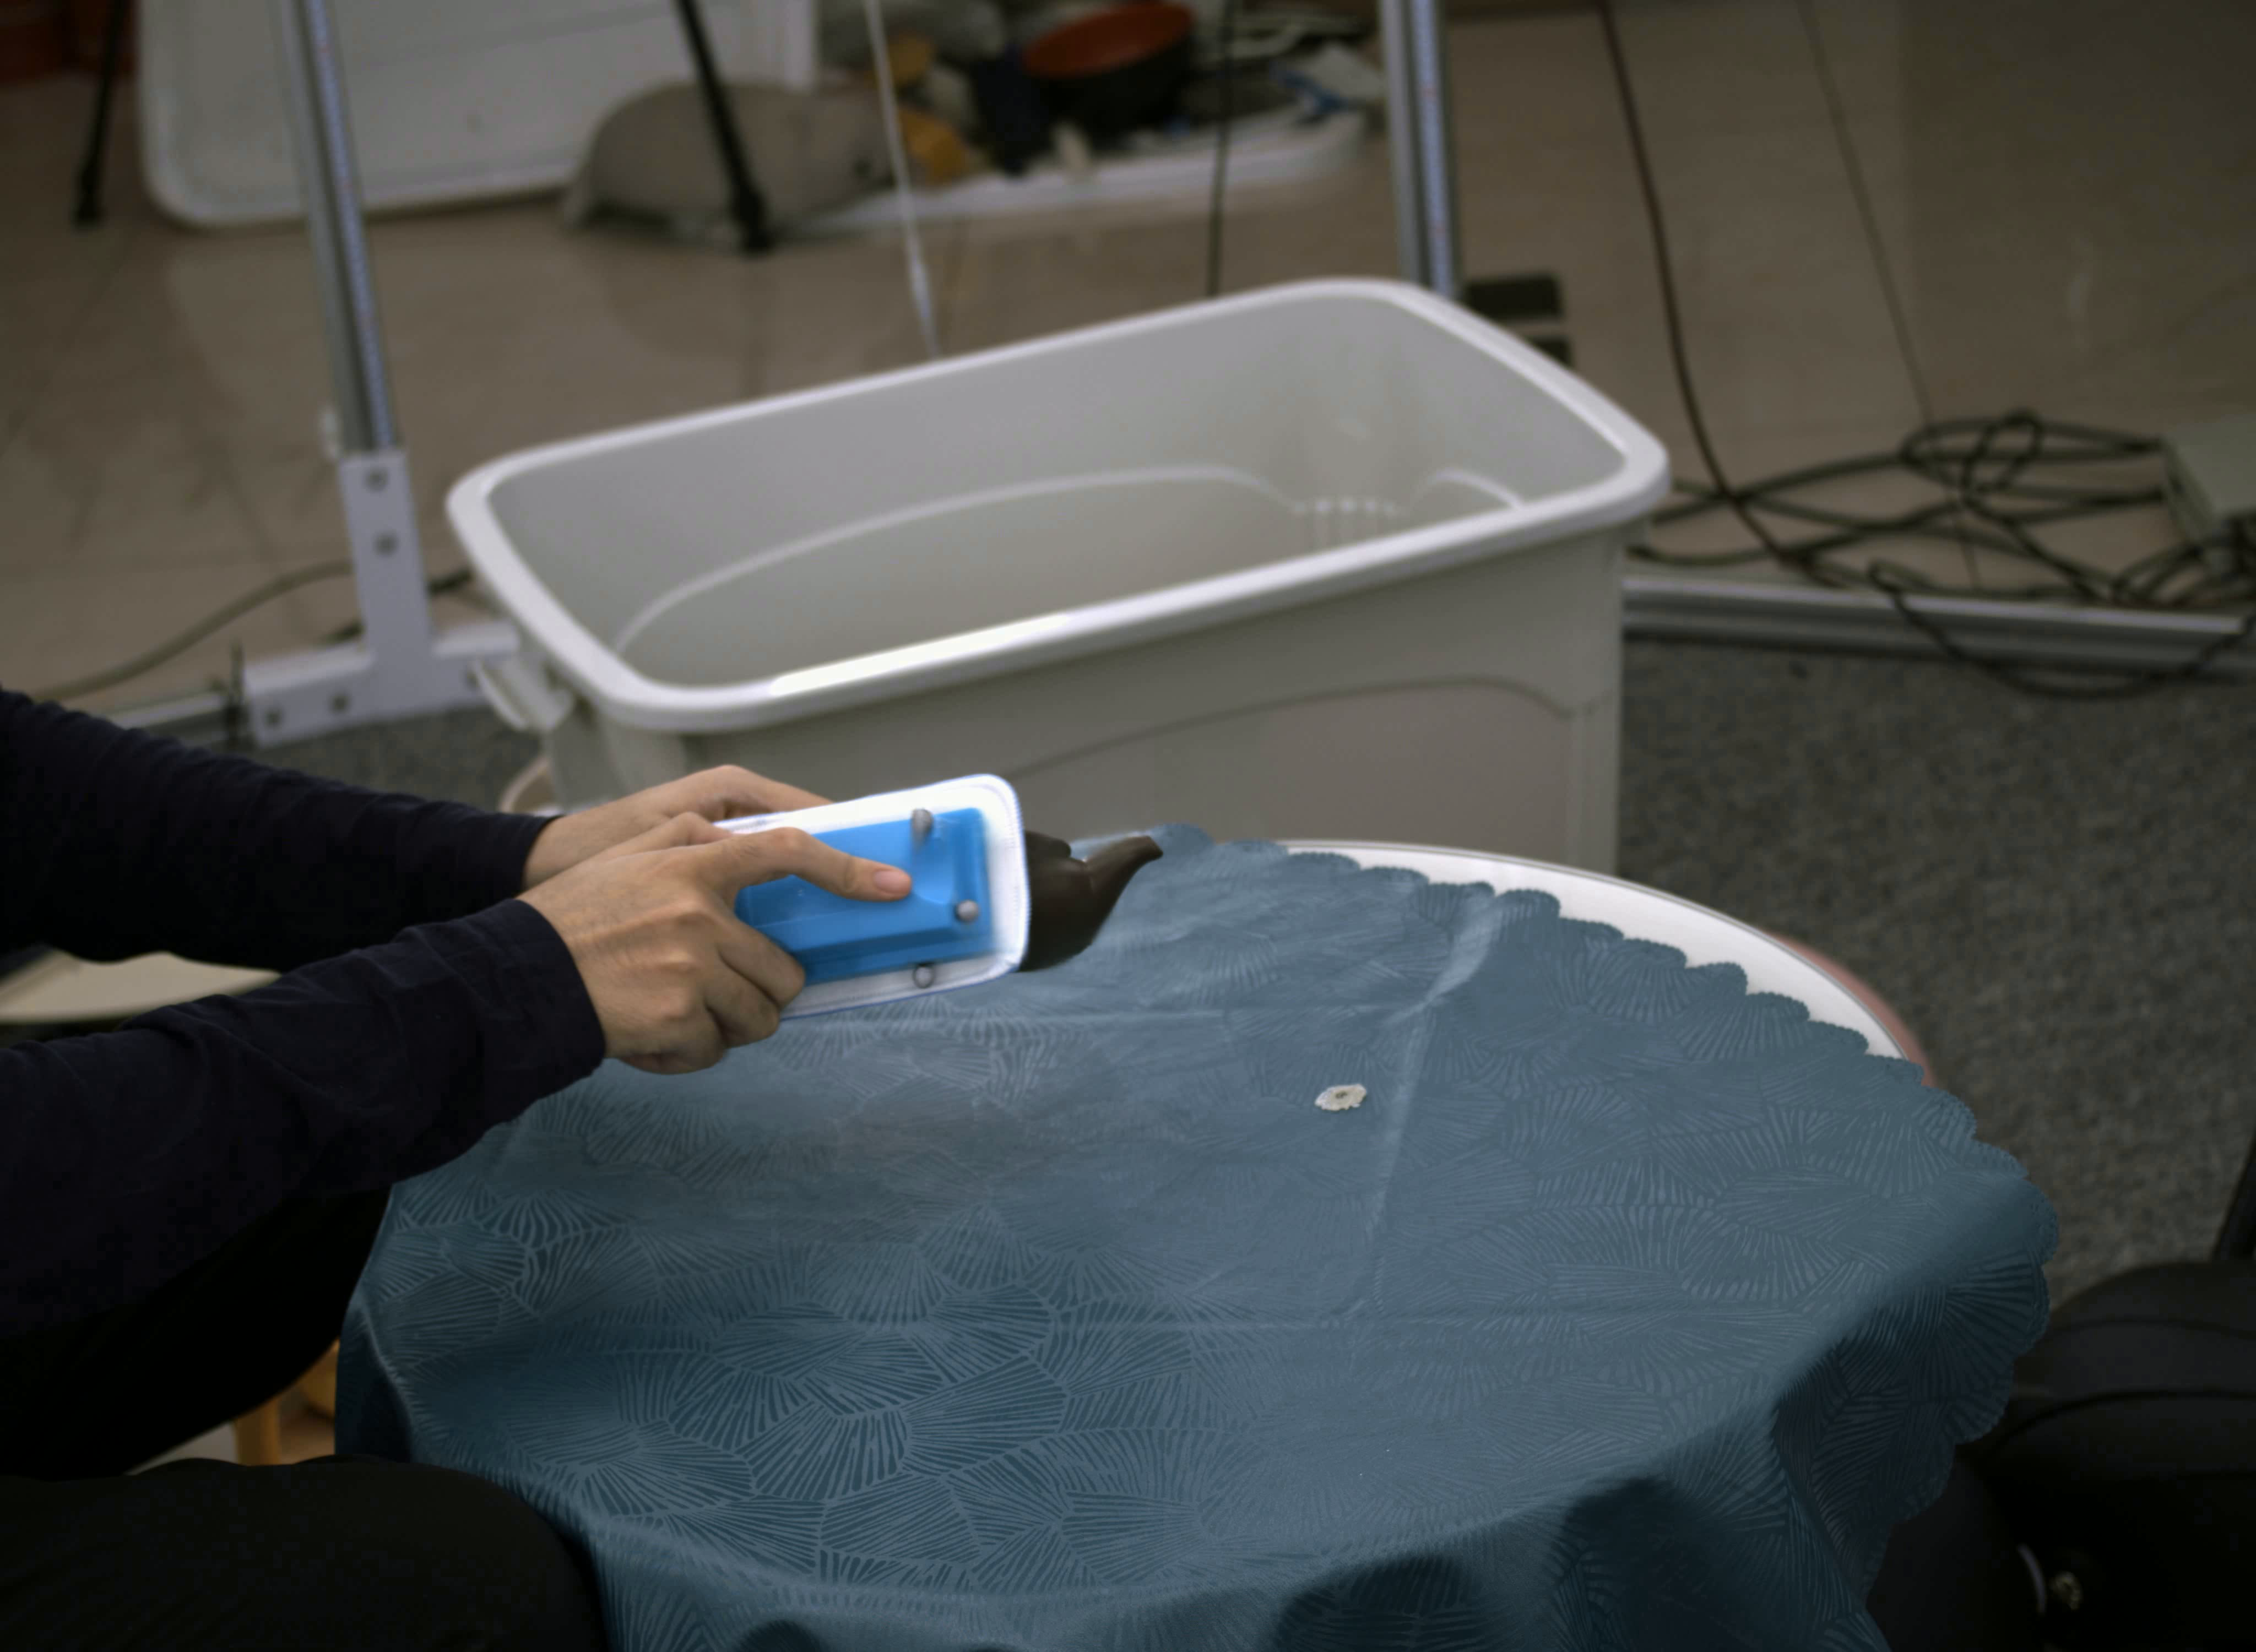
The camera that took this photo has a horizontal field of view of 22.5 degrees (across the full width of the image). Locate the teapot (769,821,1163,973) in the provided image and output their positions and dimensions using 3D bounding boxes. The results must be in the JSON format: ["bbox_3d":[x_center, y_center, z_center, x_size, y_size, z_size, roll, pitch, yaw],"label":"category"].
[{"bbox_3d":[-0.064,0.025,2.166,0.153,0.053,0.103,5,-9,6],"label":"teapot"}]

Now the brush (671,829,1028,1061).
[{"bbox_3d":[-0.109,0.038,2.113,0.144,0.056,0.083,-8,69,18],"label":"brush"}]
